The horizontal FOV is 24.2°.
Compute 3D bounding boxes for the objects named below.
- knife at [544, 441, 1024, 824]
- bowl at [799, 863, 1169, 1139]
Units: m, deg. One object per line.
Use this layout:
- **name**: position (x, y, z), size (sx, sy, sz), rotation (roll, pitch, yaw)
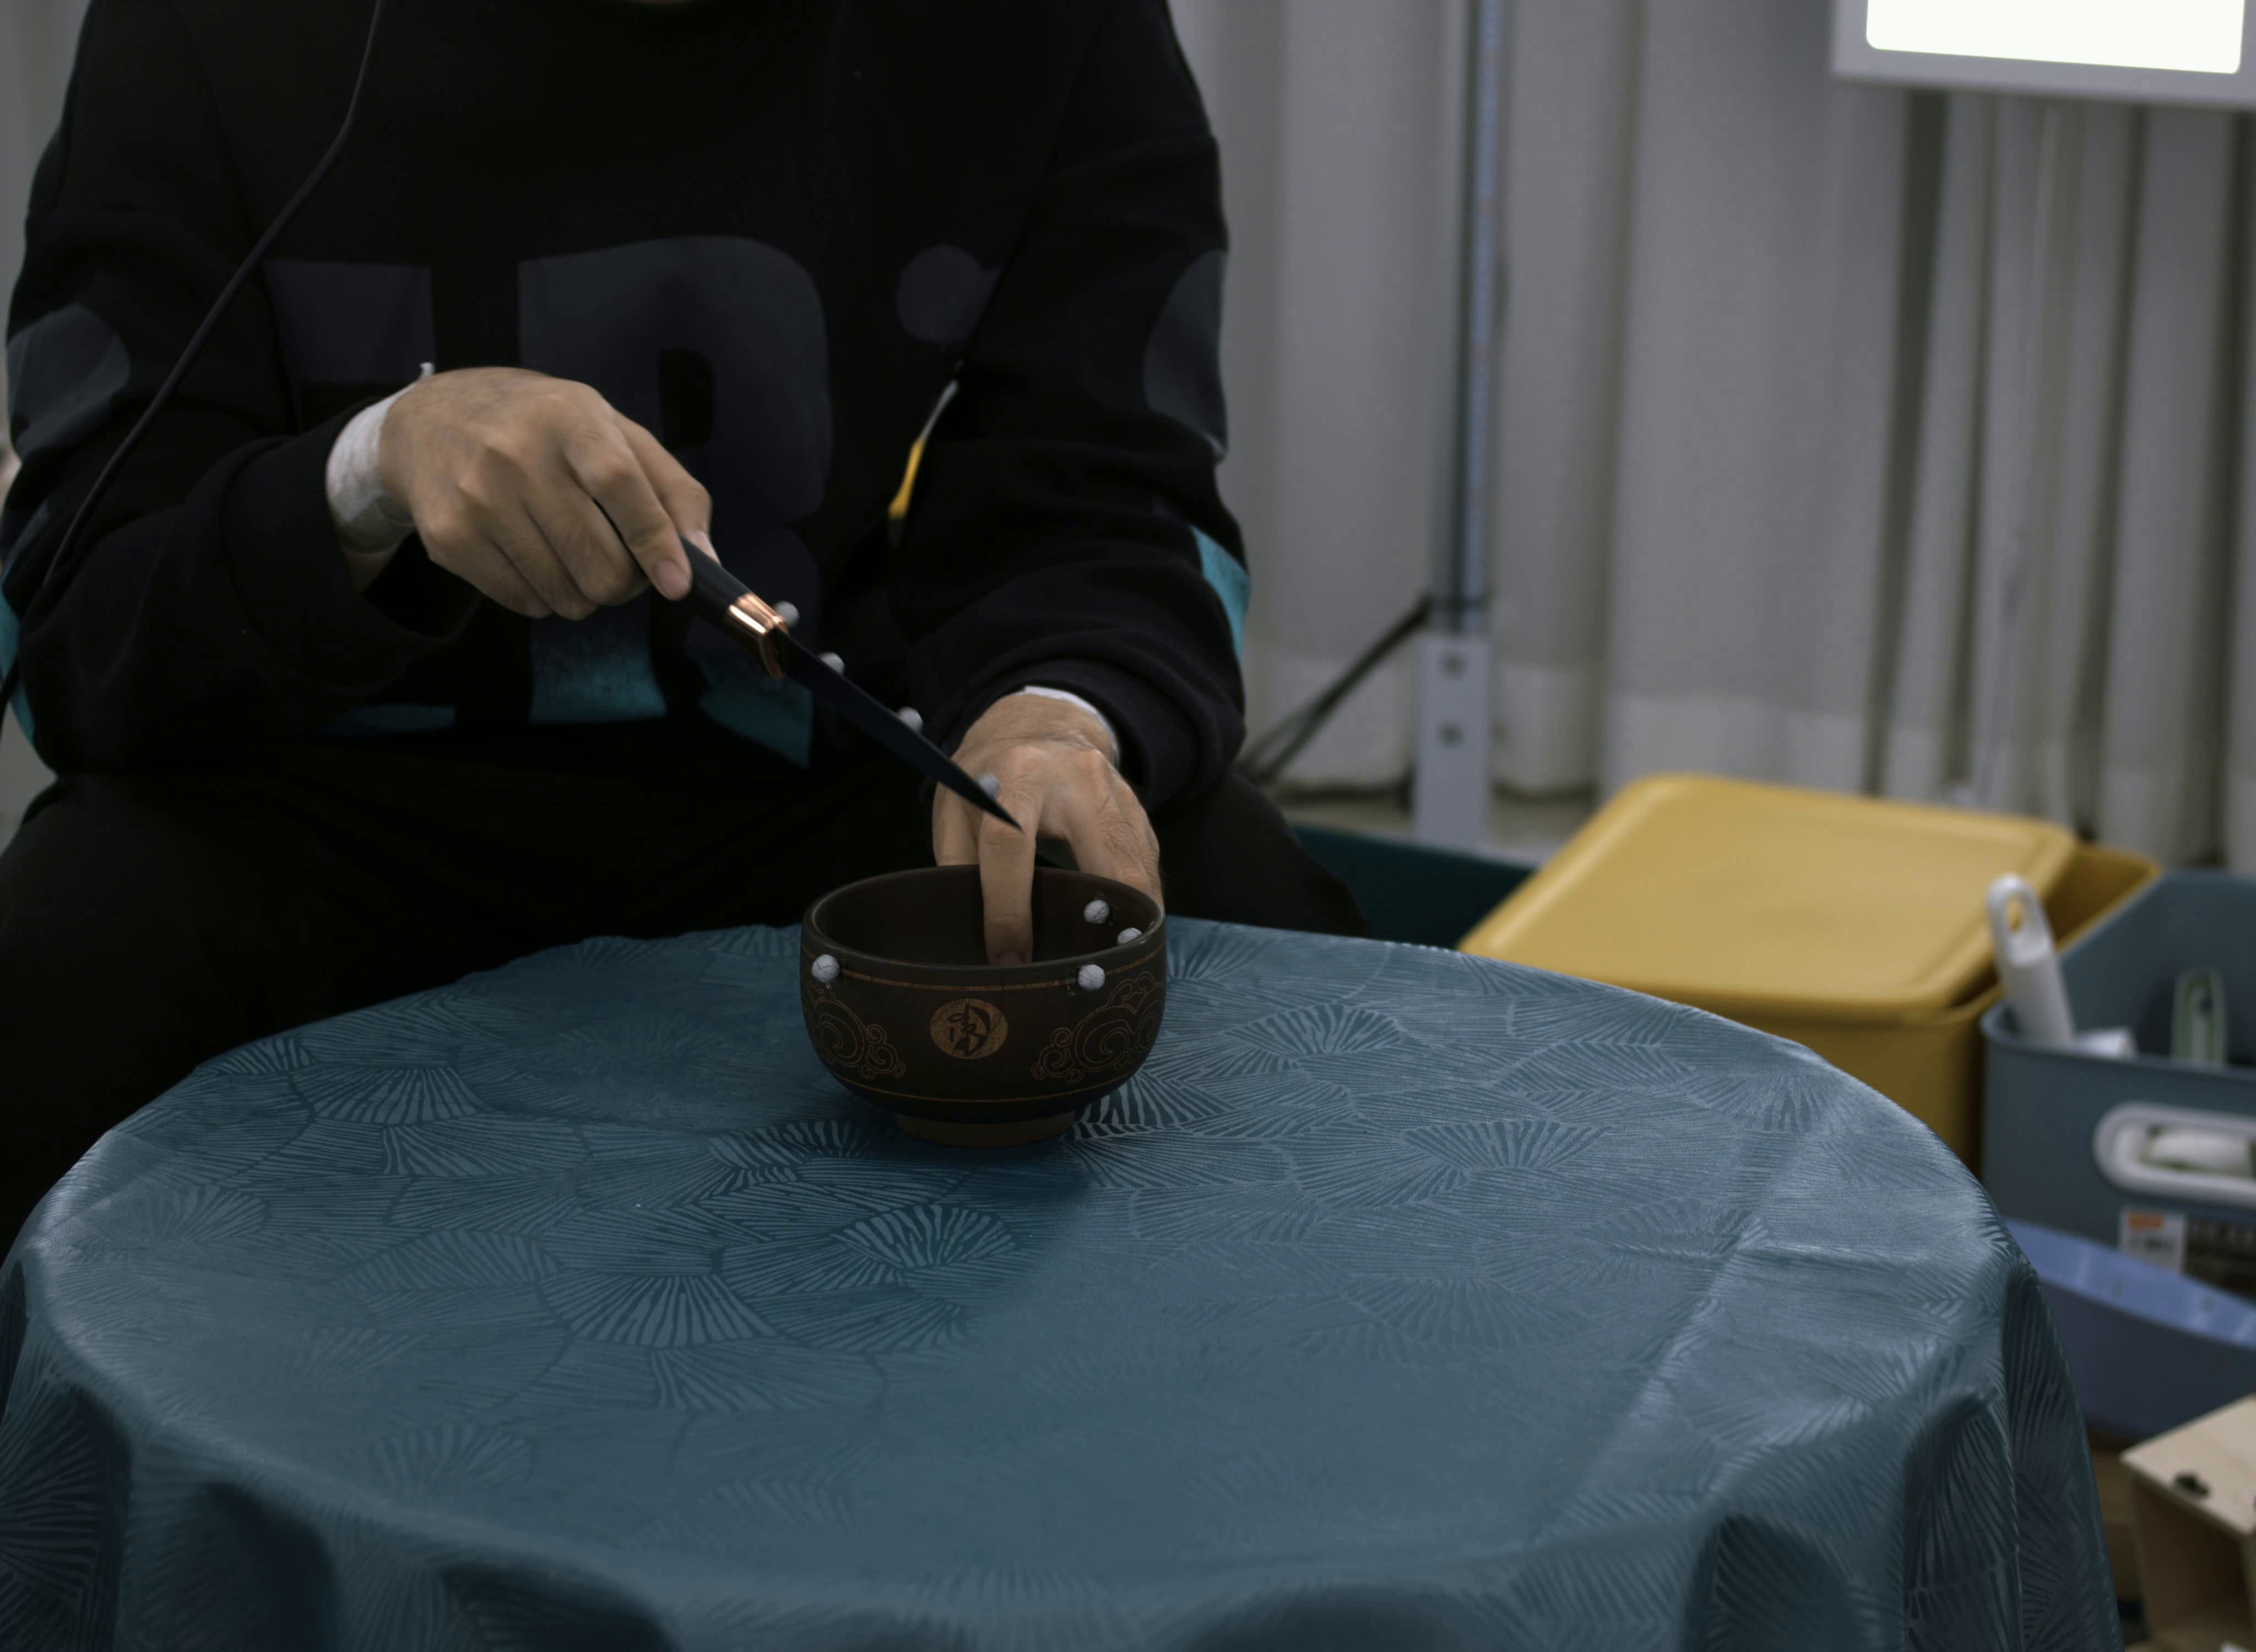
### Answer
- **knife**: position (-0.112, -0.063, 1.689), size (0.223, 0.017, 0.026), rotation (38, -3, 29)
- **bowl**: position (-0.046, 0.059, 1.673), size (0.117, 0.070, 0.117), rotation (2, 13, 0)
